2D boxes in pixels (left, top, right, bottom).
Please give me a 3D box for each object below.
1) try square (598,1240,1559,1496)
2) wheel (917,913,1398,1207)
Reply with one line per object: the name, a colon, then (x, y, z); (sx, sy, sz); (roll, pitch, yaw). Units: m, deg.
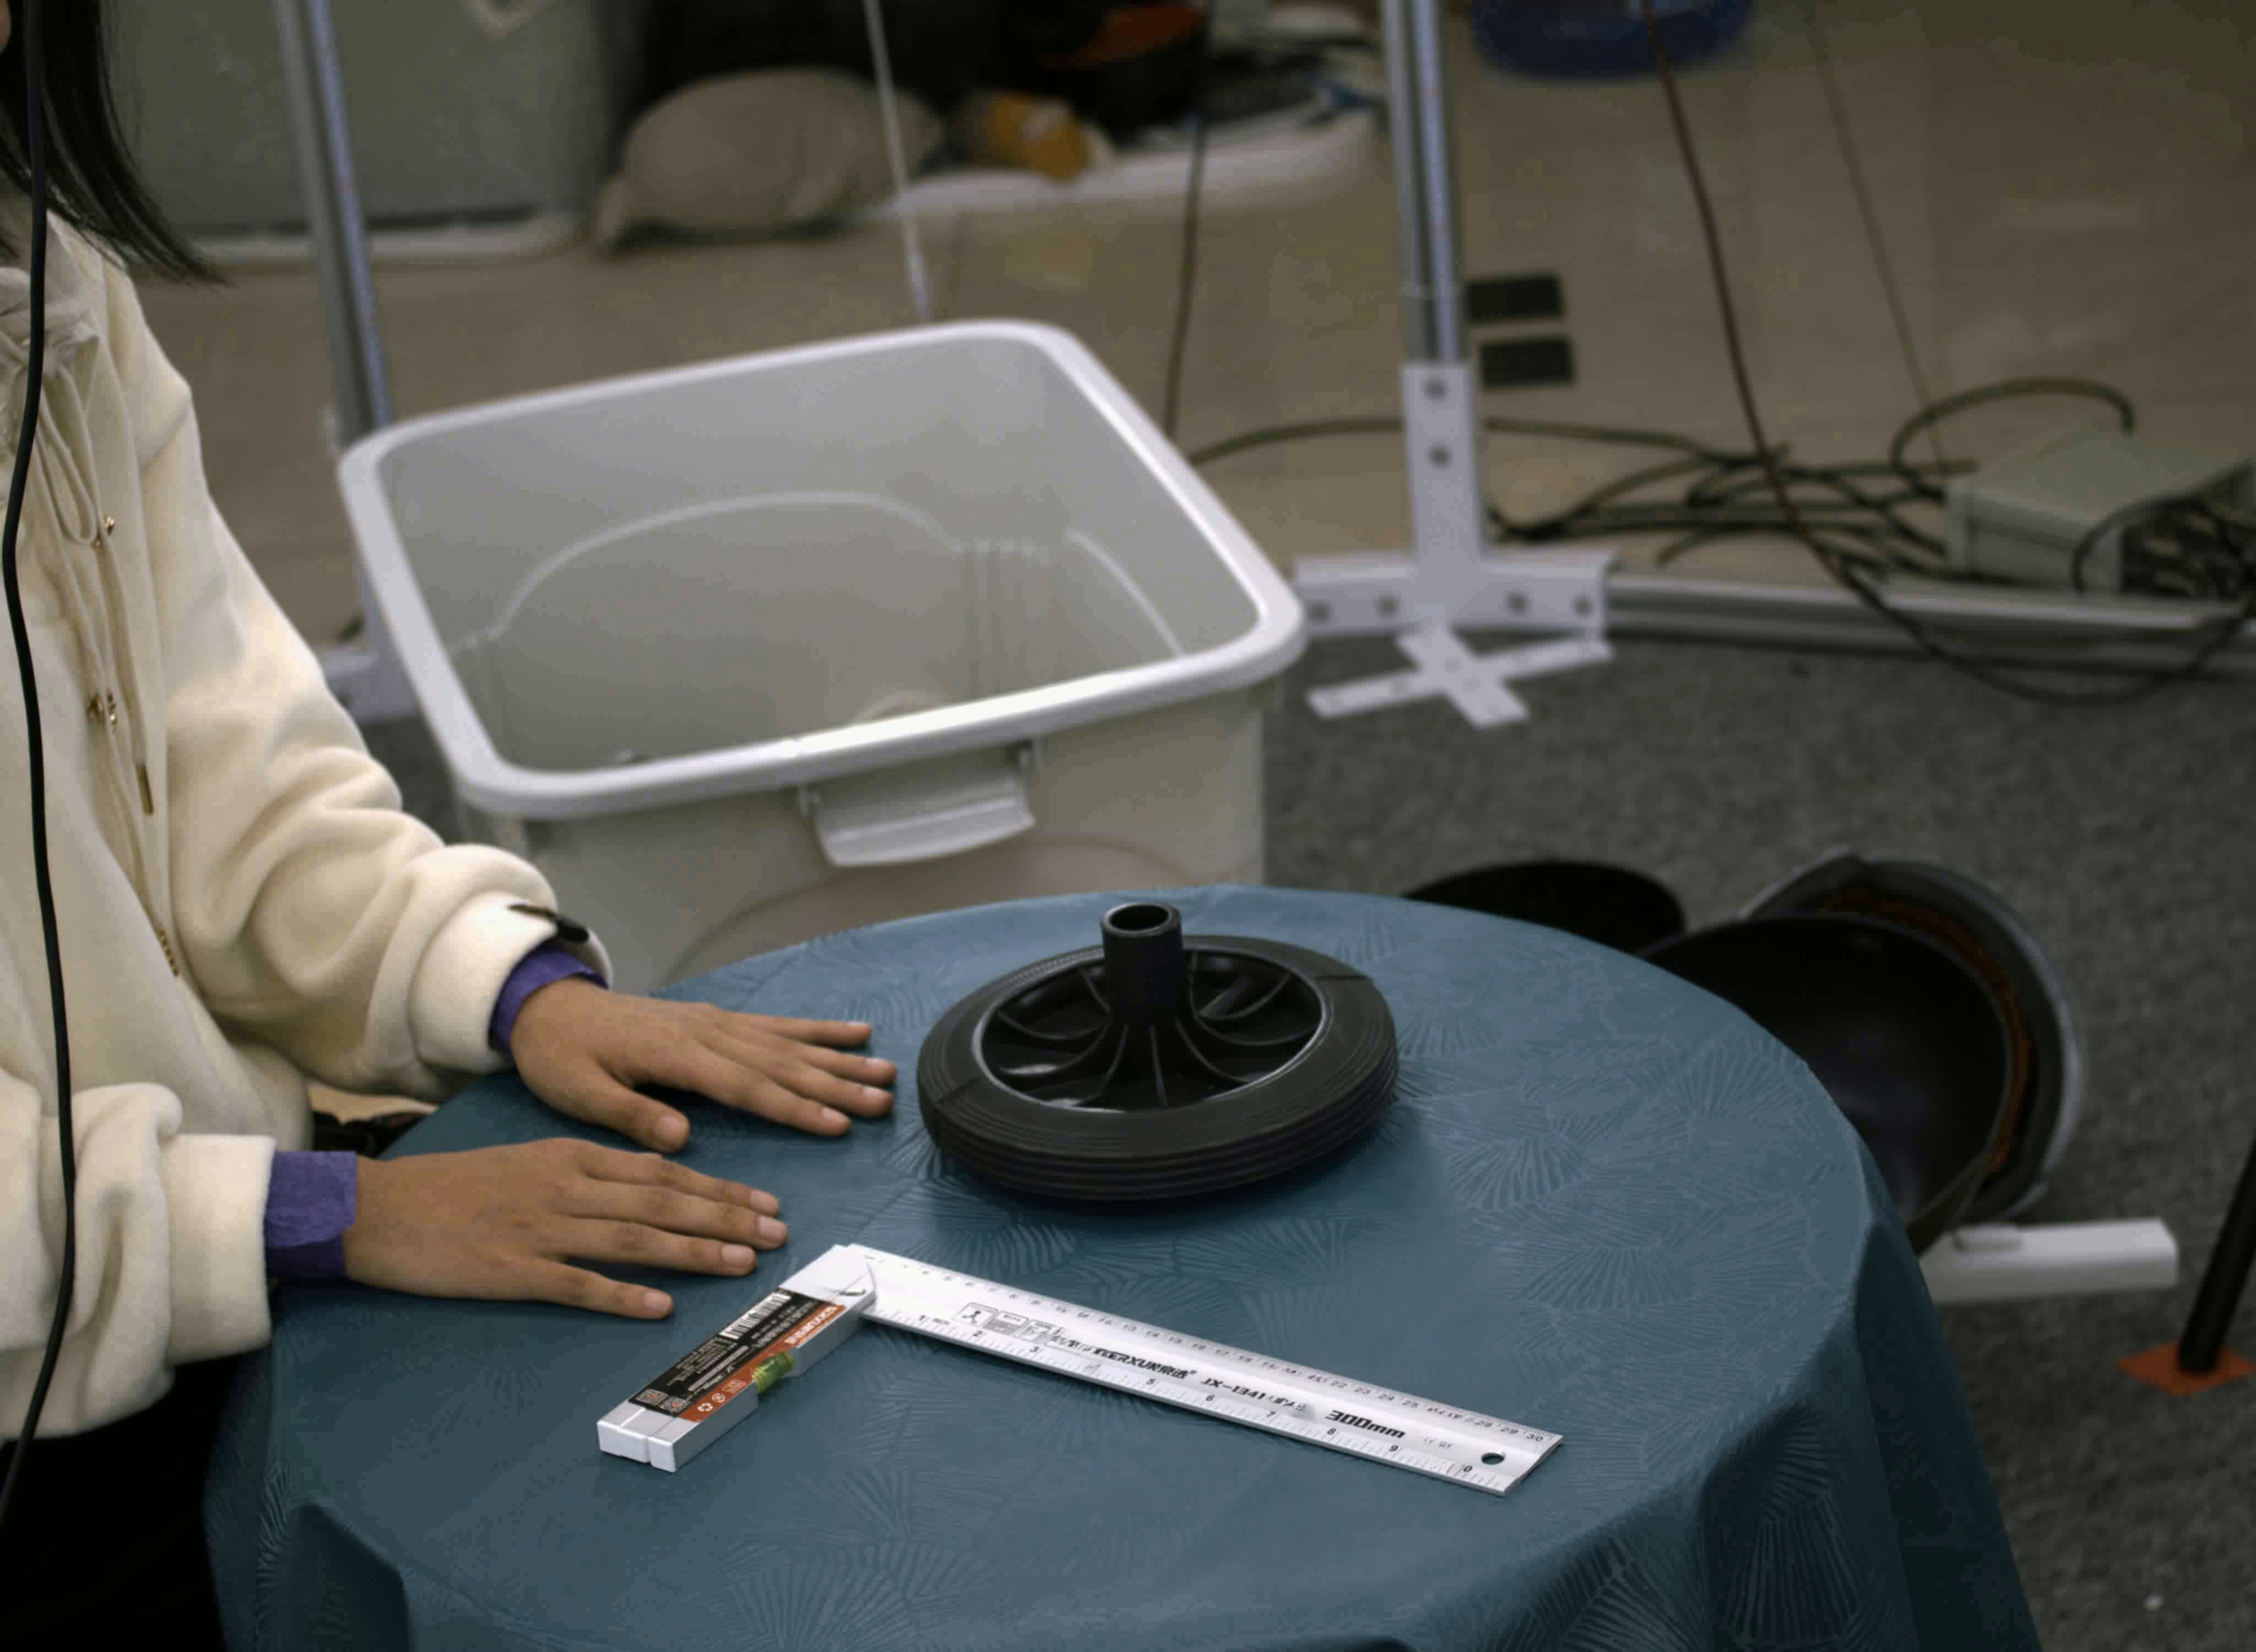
try square: (-0.021, 0.215, 1.988); (0.311, 0.016, 0.150); (12, 34, 33)
wheel: (0.009, 0.075, 2.191); (0.187, 0.080, 0.187); (0, 25, 14)
